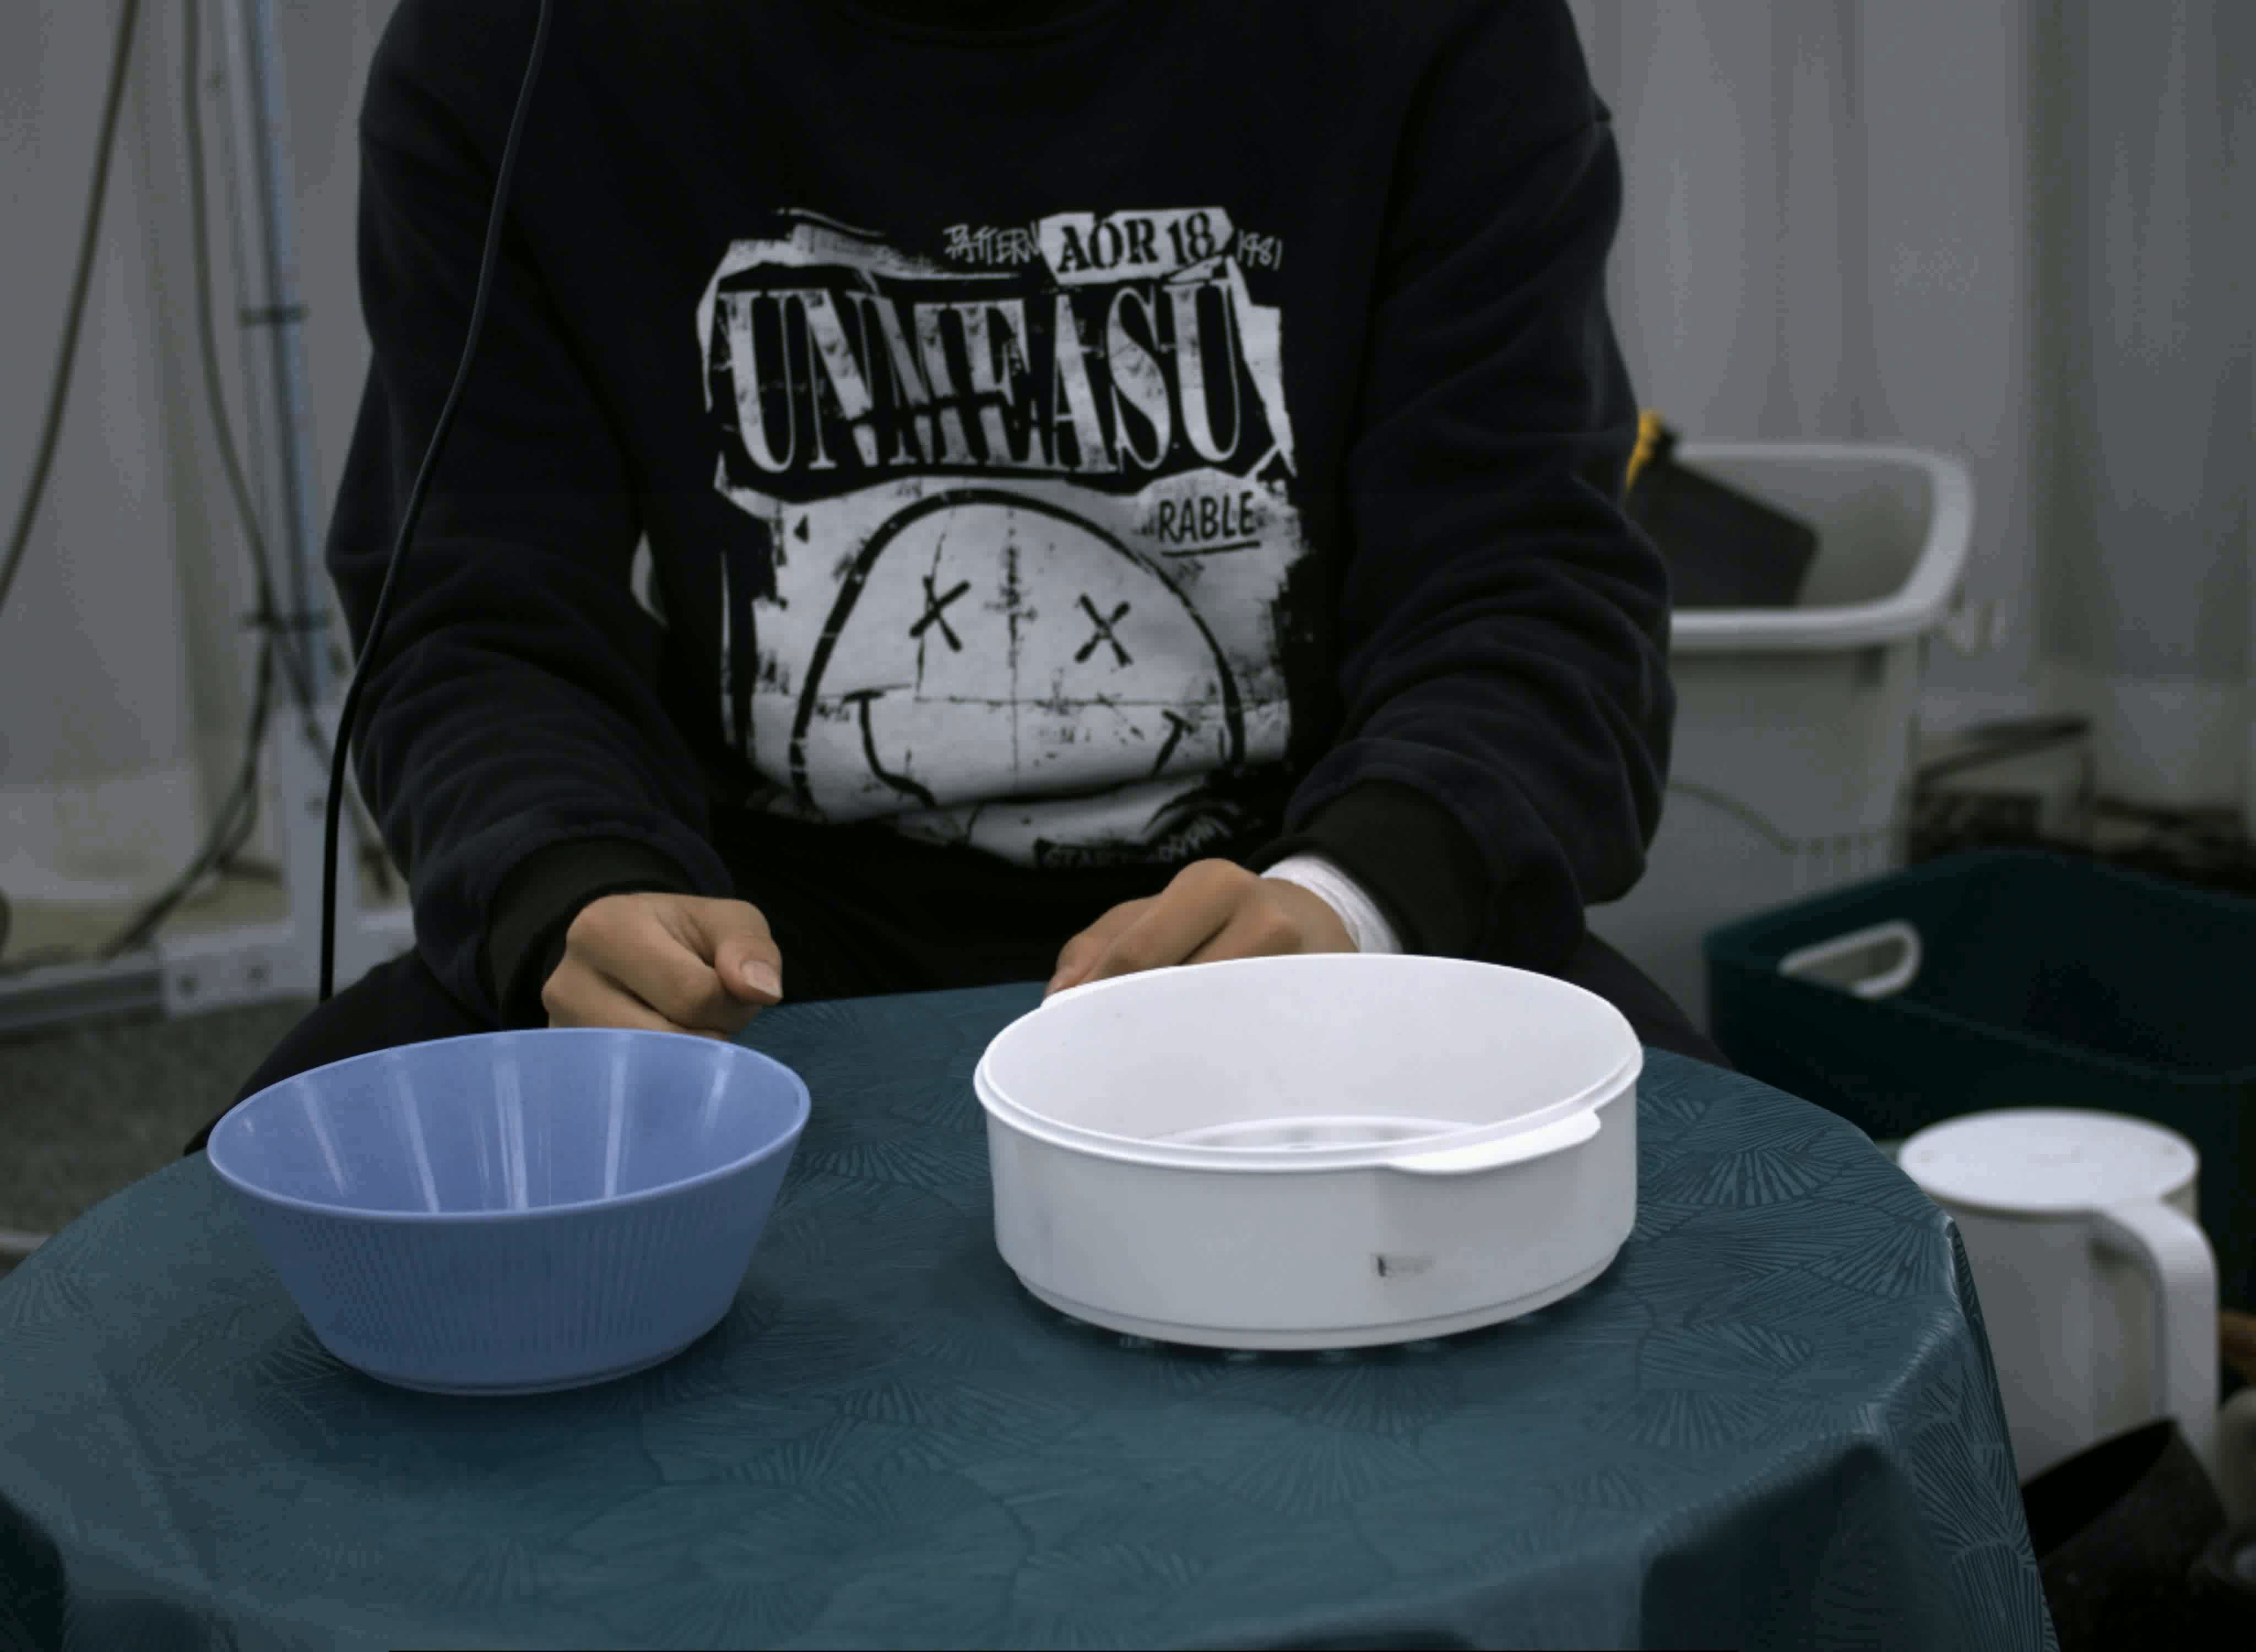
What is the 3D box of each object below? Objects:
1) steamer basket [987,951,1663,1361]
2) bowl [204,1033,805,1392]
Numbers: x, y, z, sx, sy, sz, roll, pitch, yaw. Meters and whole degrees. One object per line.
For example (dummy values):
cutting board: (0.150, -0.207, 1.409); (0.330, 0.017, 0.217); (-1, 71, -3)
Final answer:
steamer basket: (0.059, 0.098, 1.633); (0.201, 0.069, 0.232); (-12, 19, -30)
bowl: (-0.181, 0.116, 1.608); (0.175, 0.070, 0.177); (-2, 15, 0)
